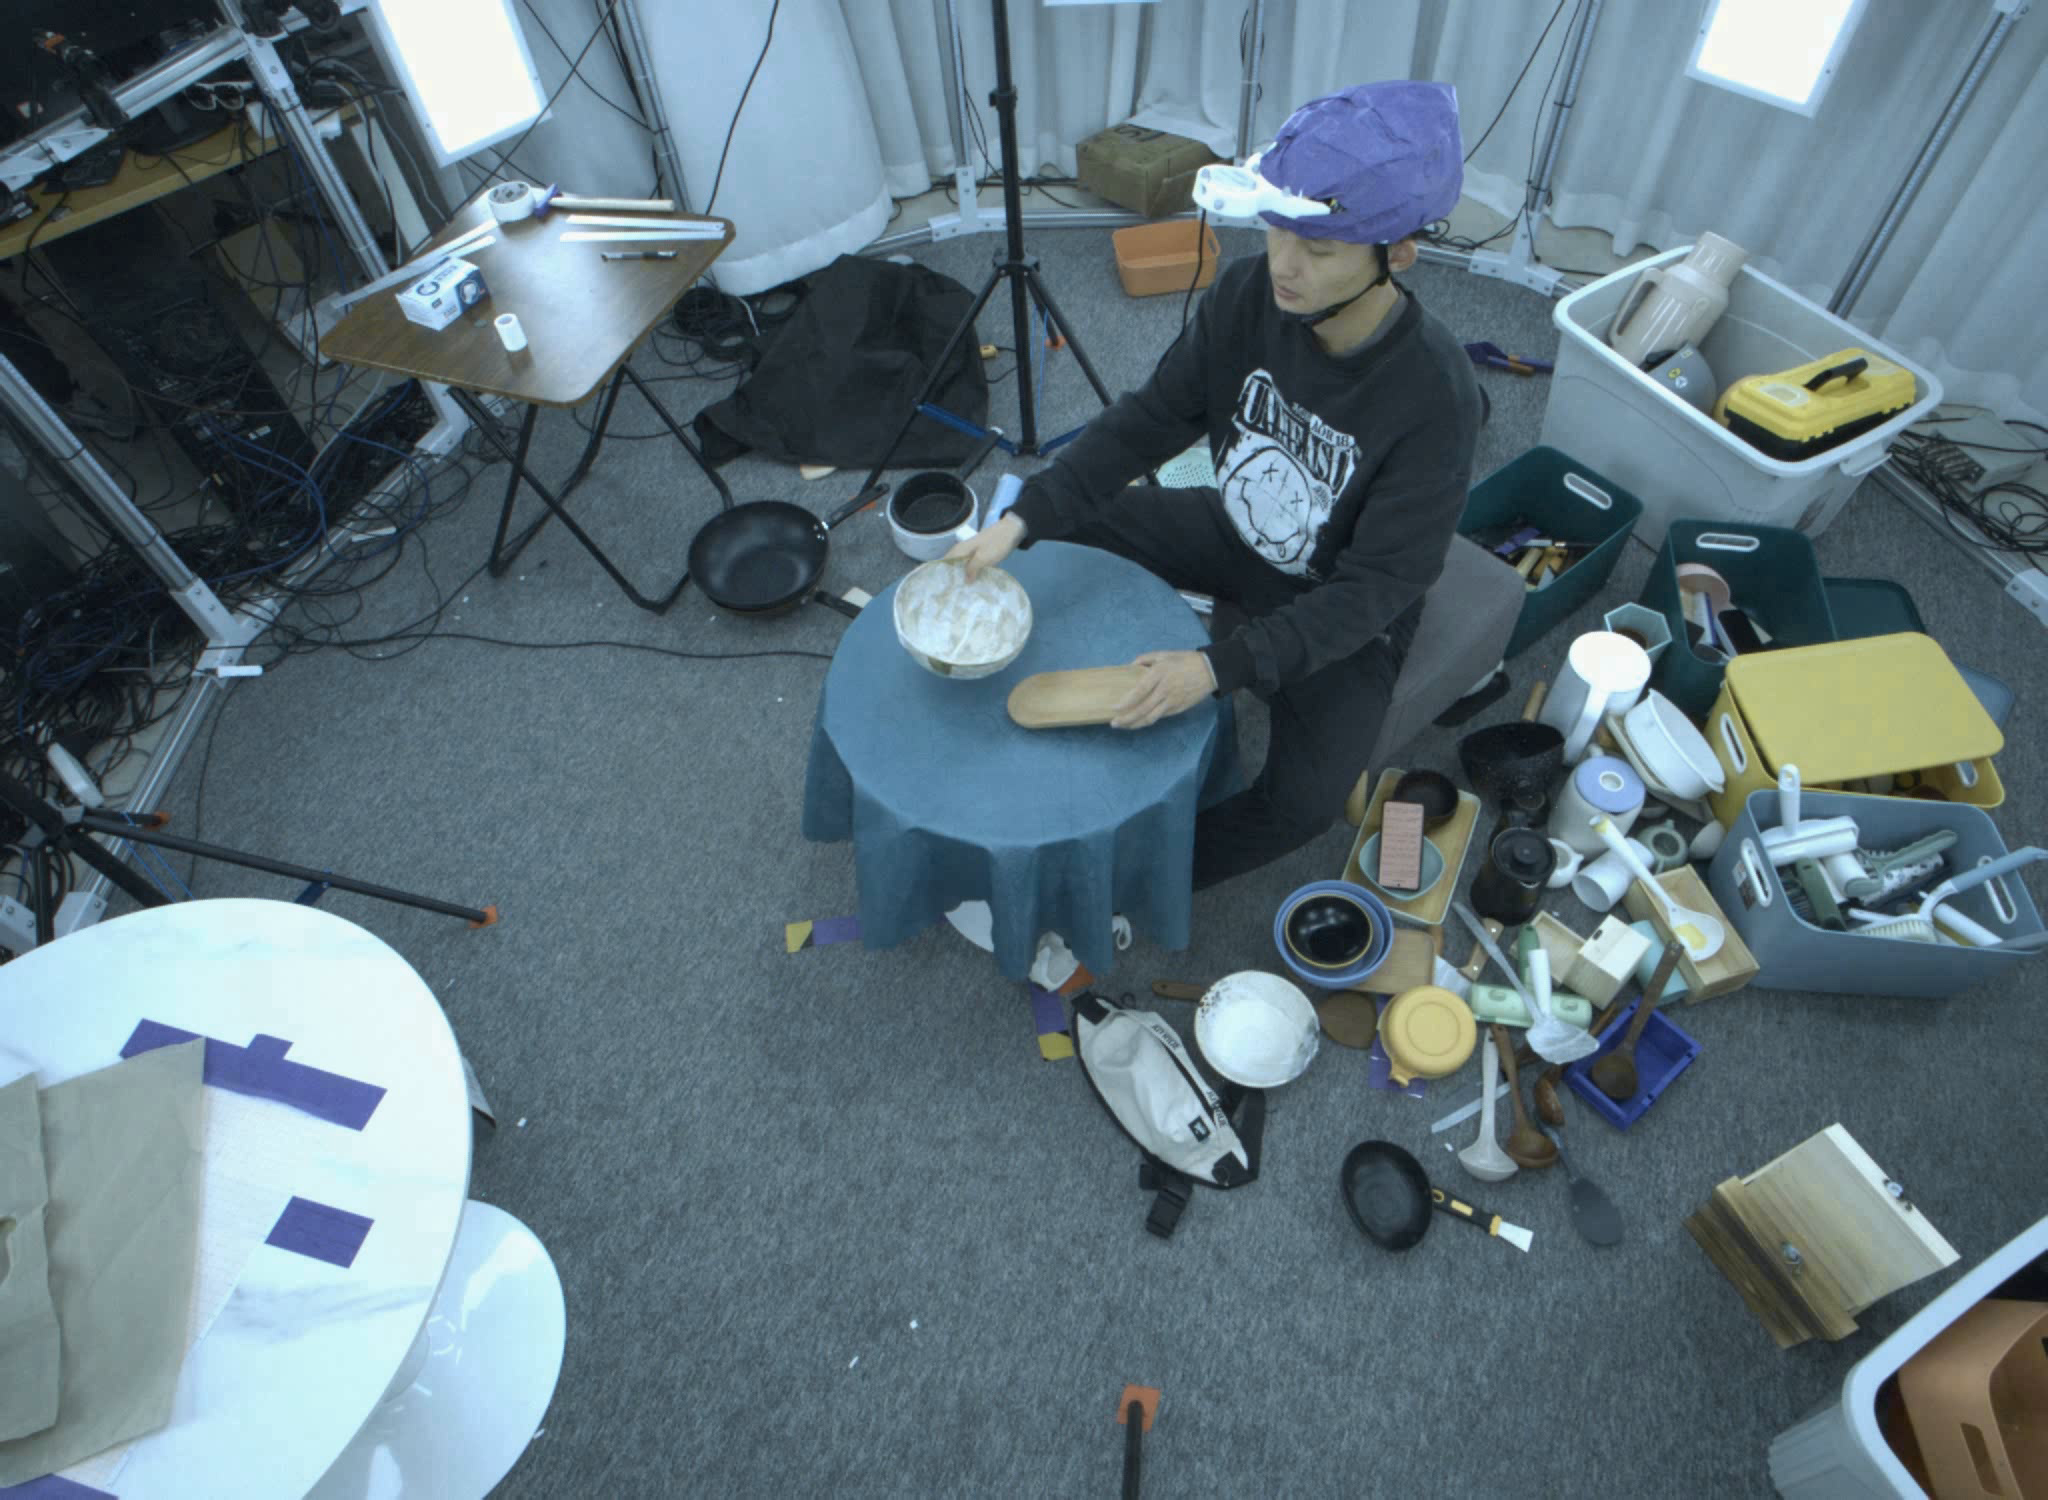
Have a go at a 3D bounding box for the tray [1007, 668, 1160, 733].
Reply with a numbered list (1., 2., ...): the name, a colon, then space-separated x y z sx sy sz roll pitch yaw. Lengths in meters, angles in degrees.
1. tray: 0.086 -0.071 1.805 0.228 0.021 0.101 -6 48 17

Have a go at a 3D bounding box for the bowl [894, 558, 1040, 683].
1. bowl: -0.087 -0.172 1.806 0.216 0.095 0.212 6 57 -8
